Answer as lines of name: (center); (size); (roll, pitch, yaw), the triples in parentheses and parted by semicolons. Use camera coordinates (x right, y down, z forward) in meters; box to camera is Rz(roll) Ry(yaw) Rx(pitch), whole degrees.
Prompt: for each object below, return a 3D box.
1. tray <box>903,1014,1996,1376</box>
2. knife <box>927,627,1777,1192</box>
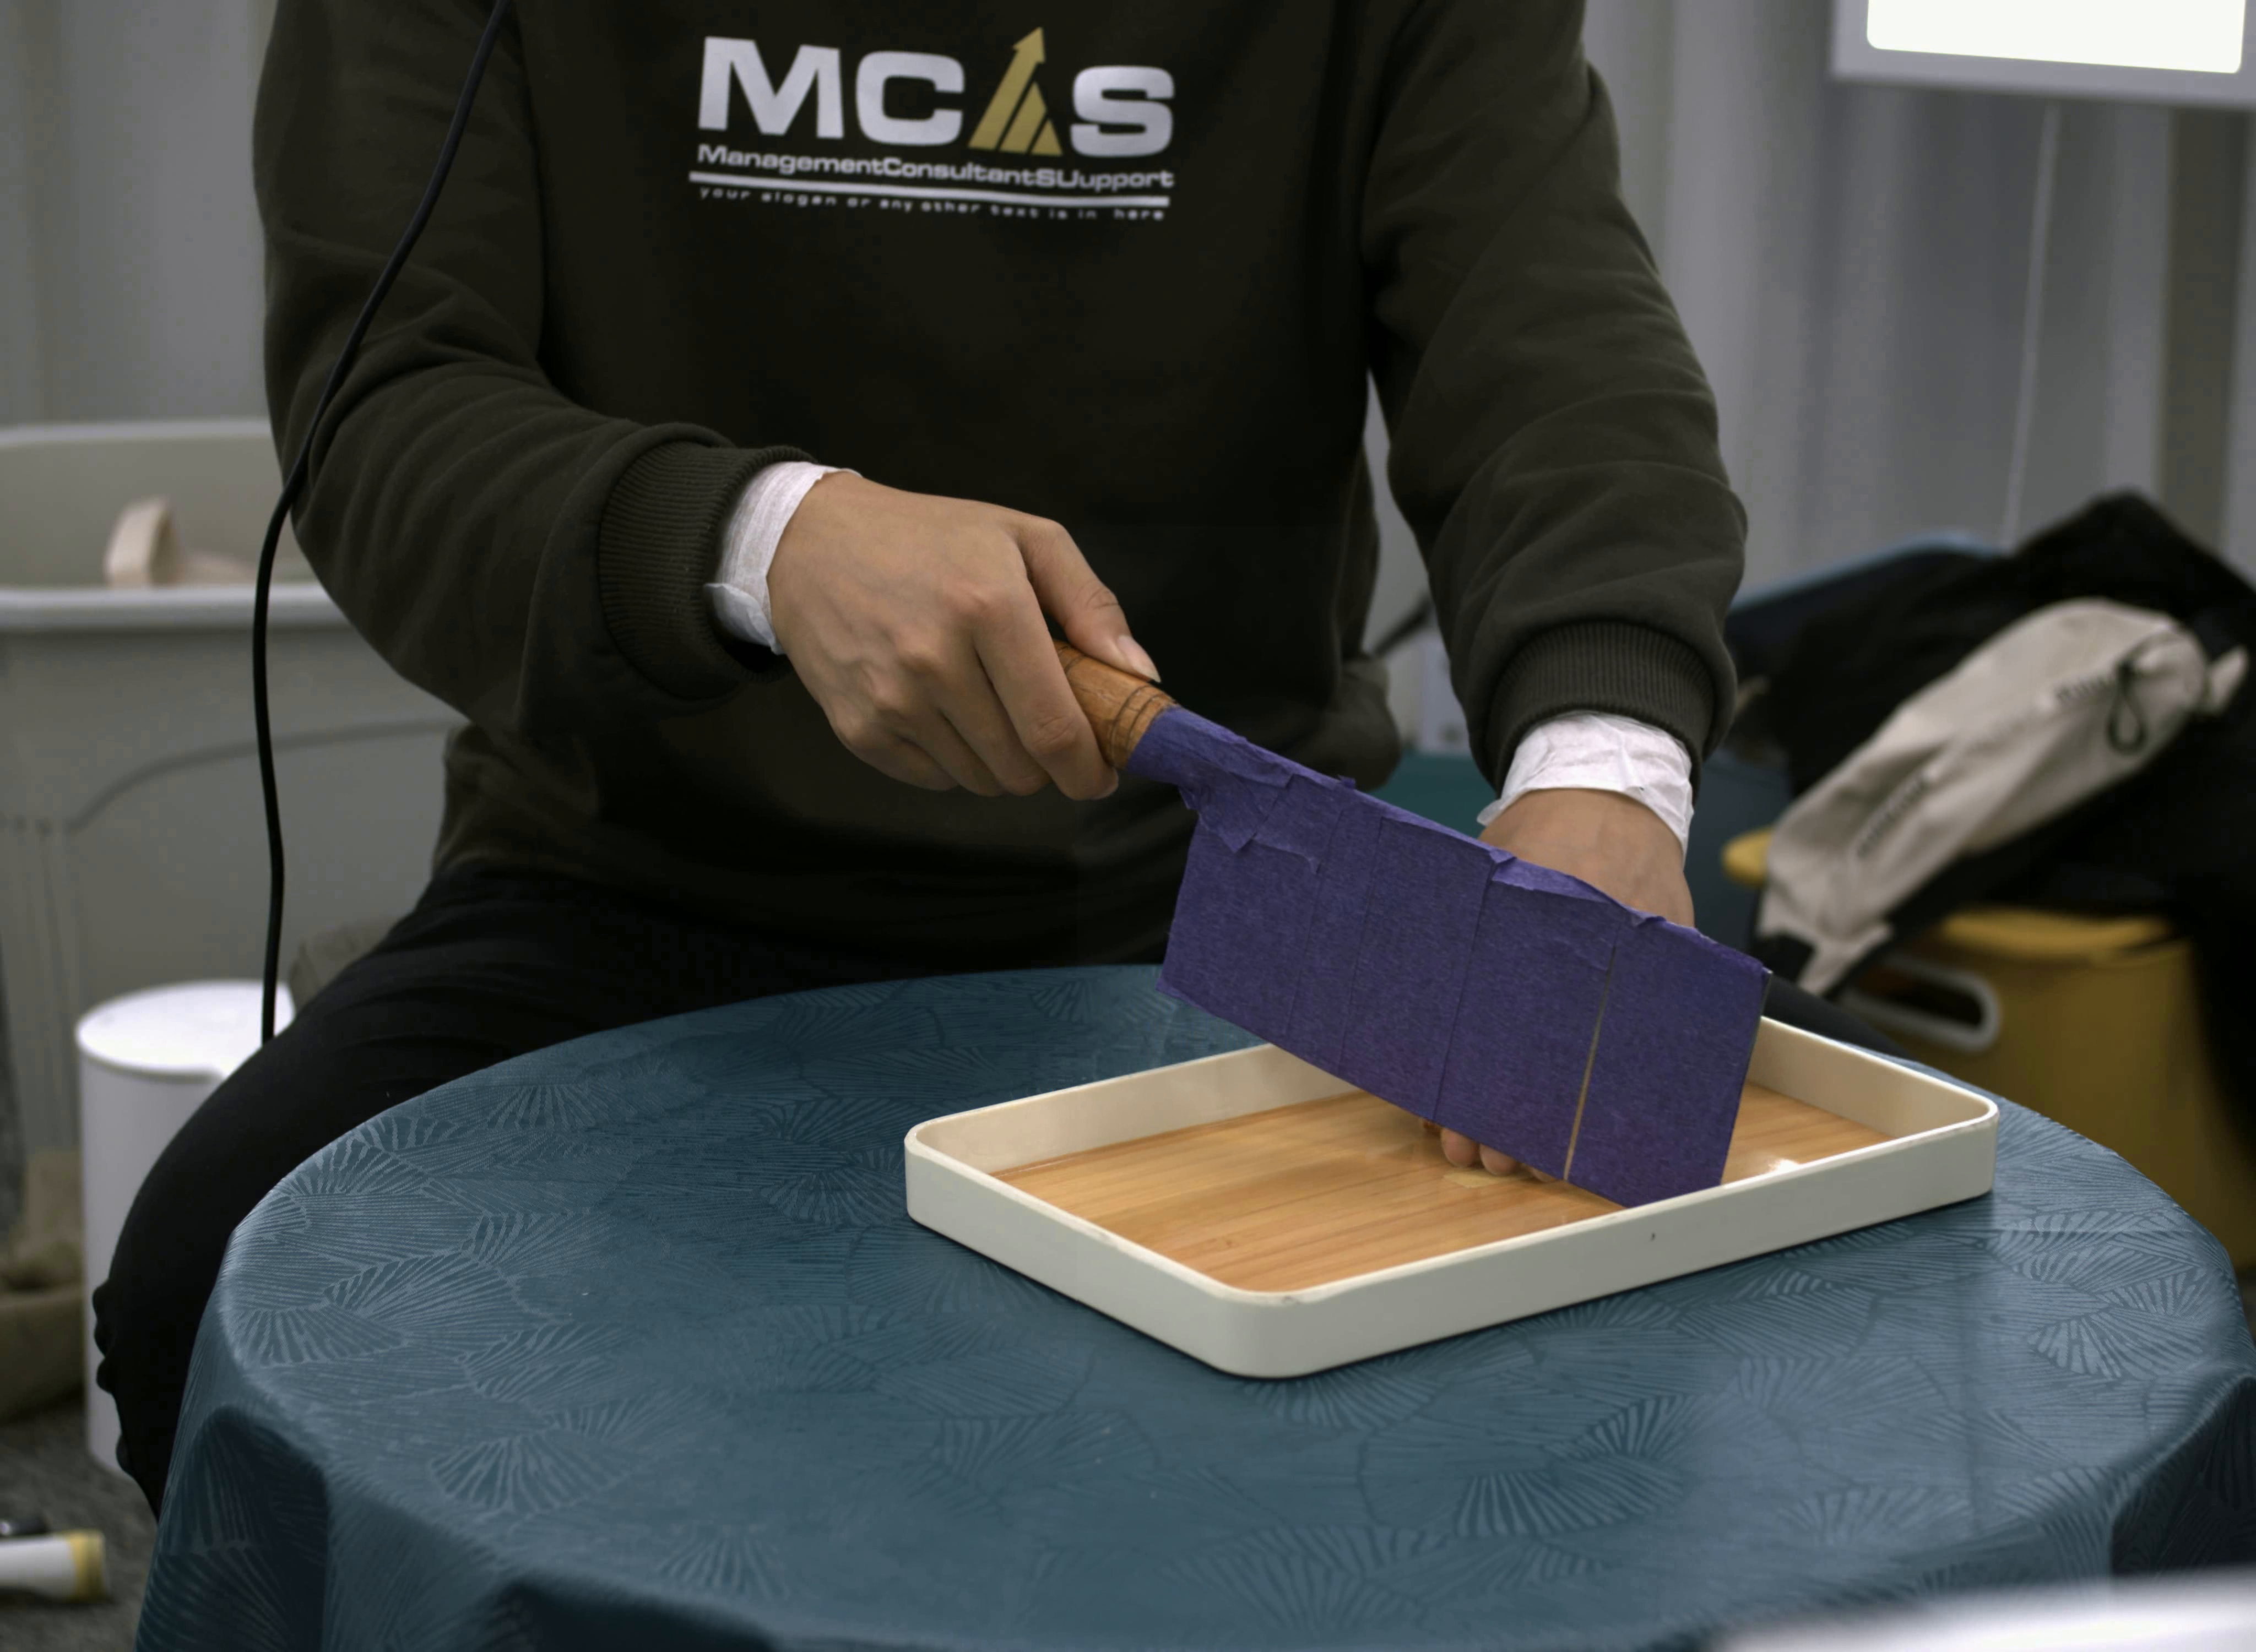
tray: (0.100, 0.102, 1.616); (0.302, 0.027, 0.189); (-11, 19, -35)
knife: (0.058, 0.027, 1.632); (0.311, 0.104, 0.032); (23, 20, 32)
